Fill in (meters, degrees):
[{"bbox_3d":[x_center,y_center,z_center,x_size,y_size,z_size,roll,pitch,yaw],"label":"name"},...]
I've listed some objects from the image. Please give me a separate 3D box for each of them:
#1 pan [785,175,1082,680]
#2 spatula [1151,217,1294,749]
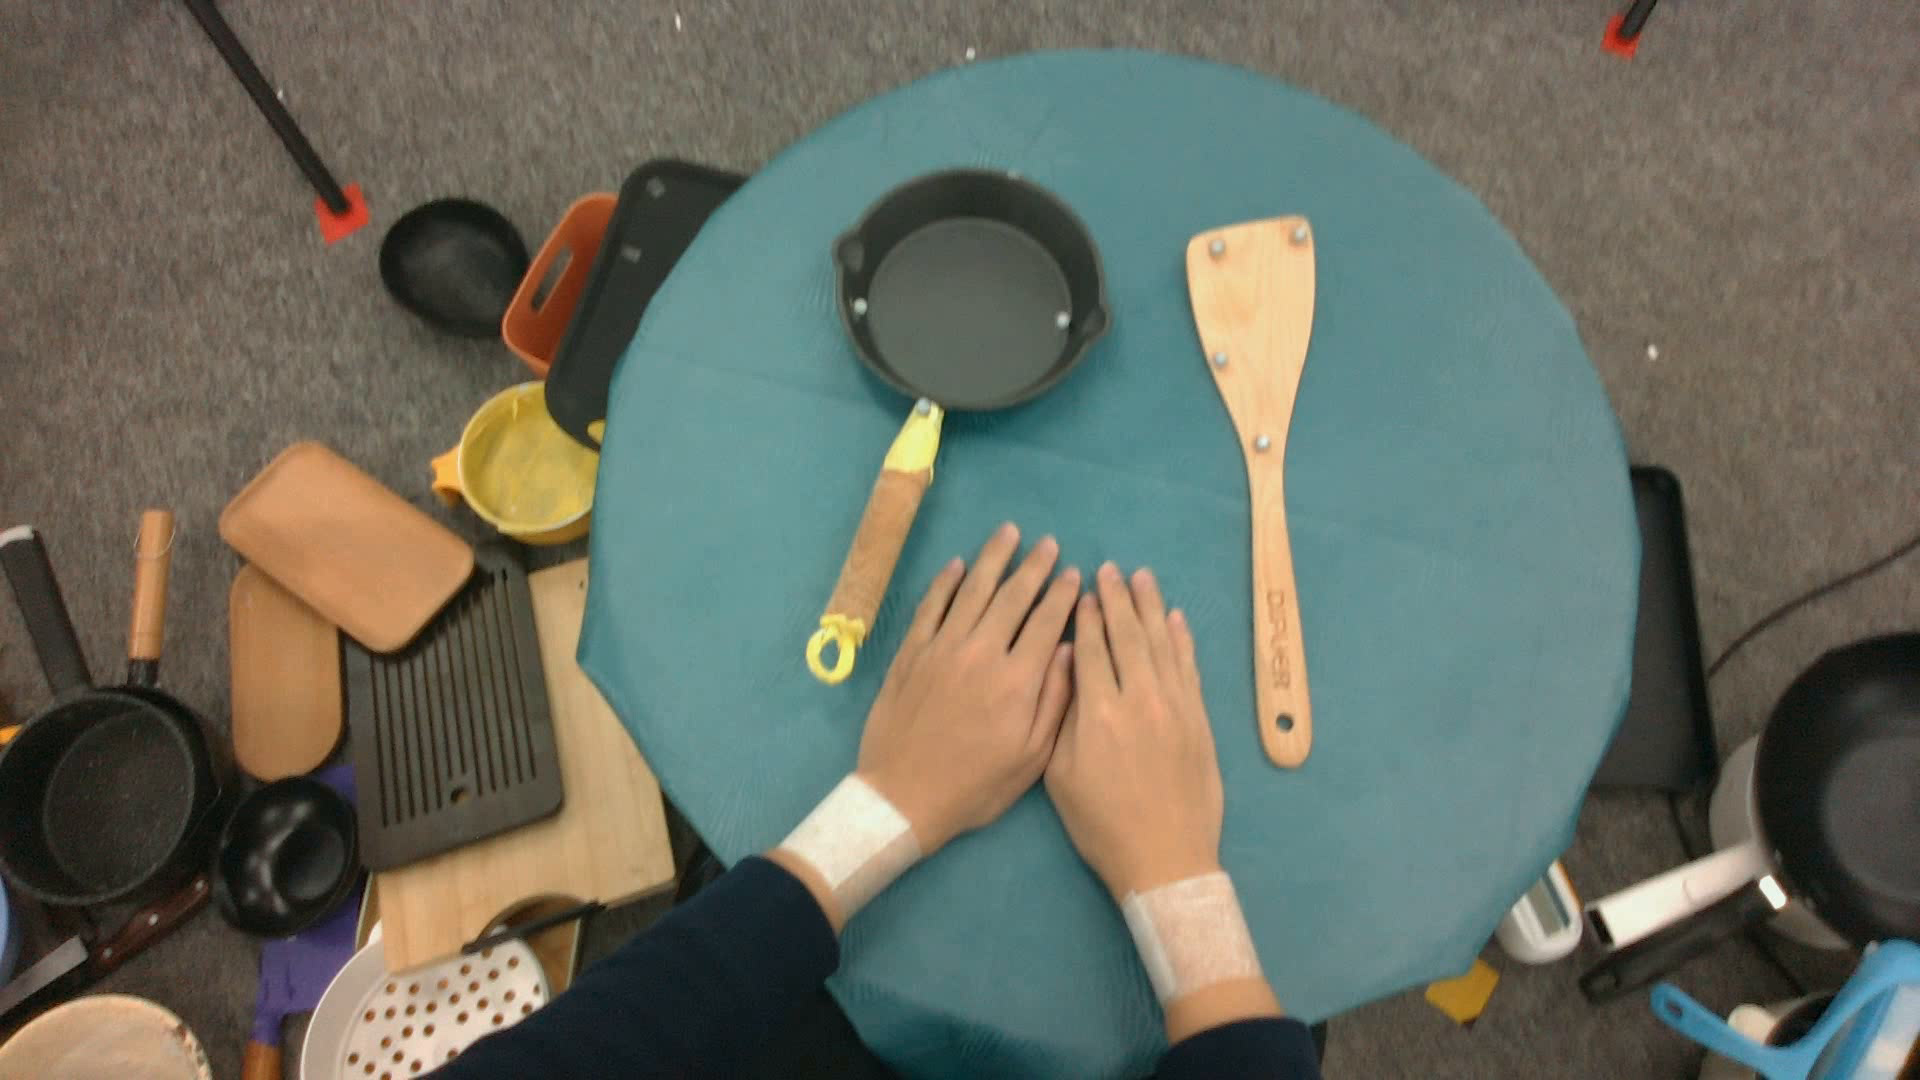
[{"bbox_3d":[-0.036,-0.069,0.777,0.169,0.049,0.325,17,68,4],"label":"pan"},{"bbox_3d":[0.161,-0.043,0.794,0.080,0.016,0.328,-1,69,-2],"label":"spatula"}]
